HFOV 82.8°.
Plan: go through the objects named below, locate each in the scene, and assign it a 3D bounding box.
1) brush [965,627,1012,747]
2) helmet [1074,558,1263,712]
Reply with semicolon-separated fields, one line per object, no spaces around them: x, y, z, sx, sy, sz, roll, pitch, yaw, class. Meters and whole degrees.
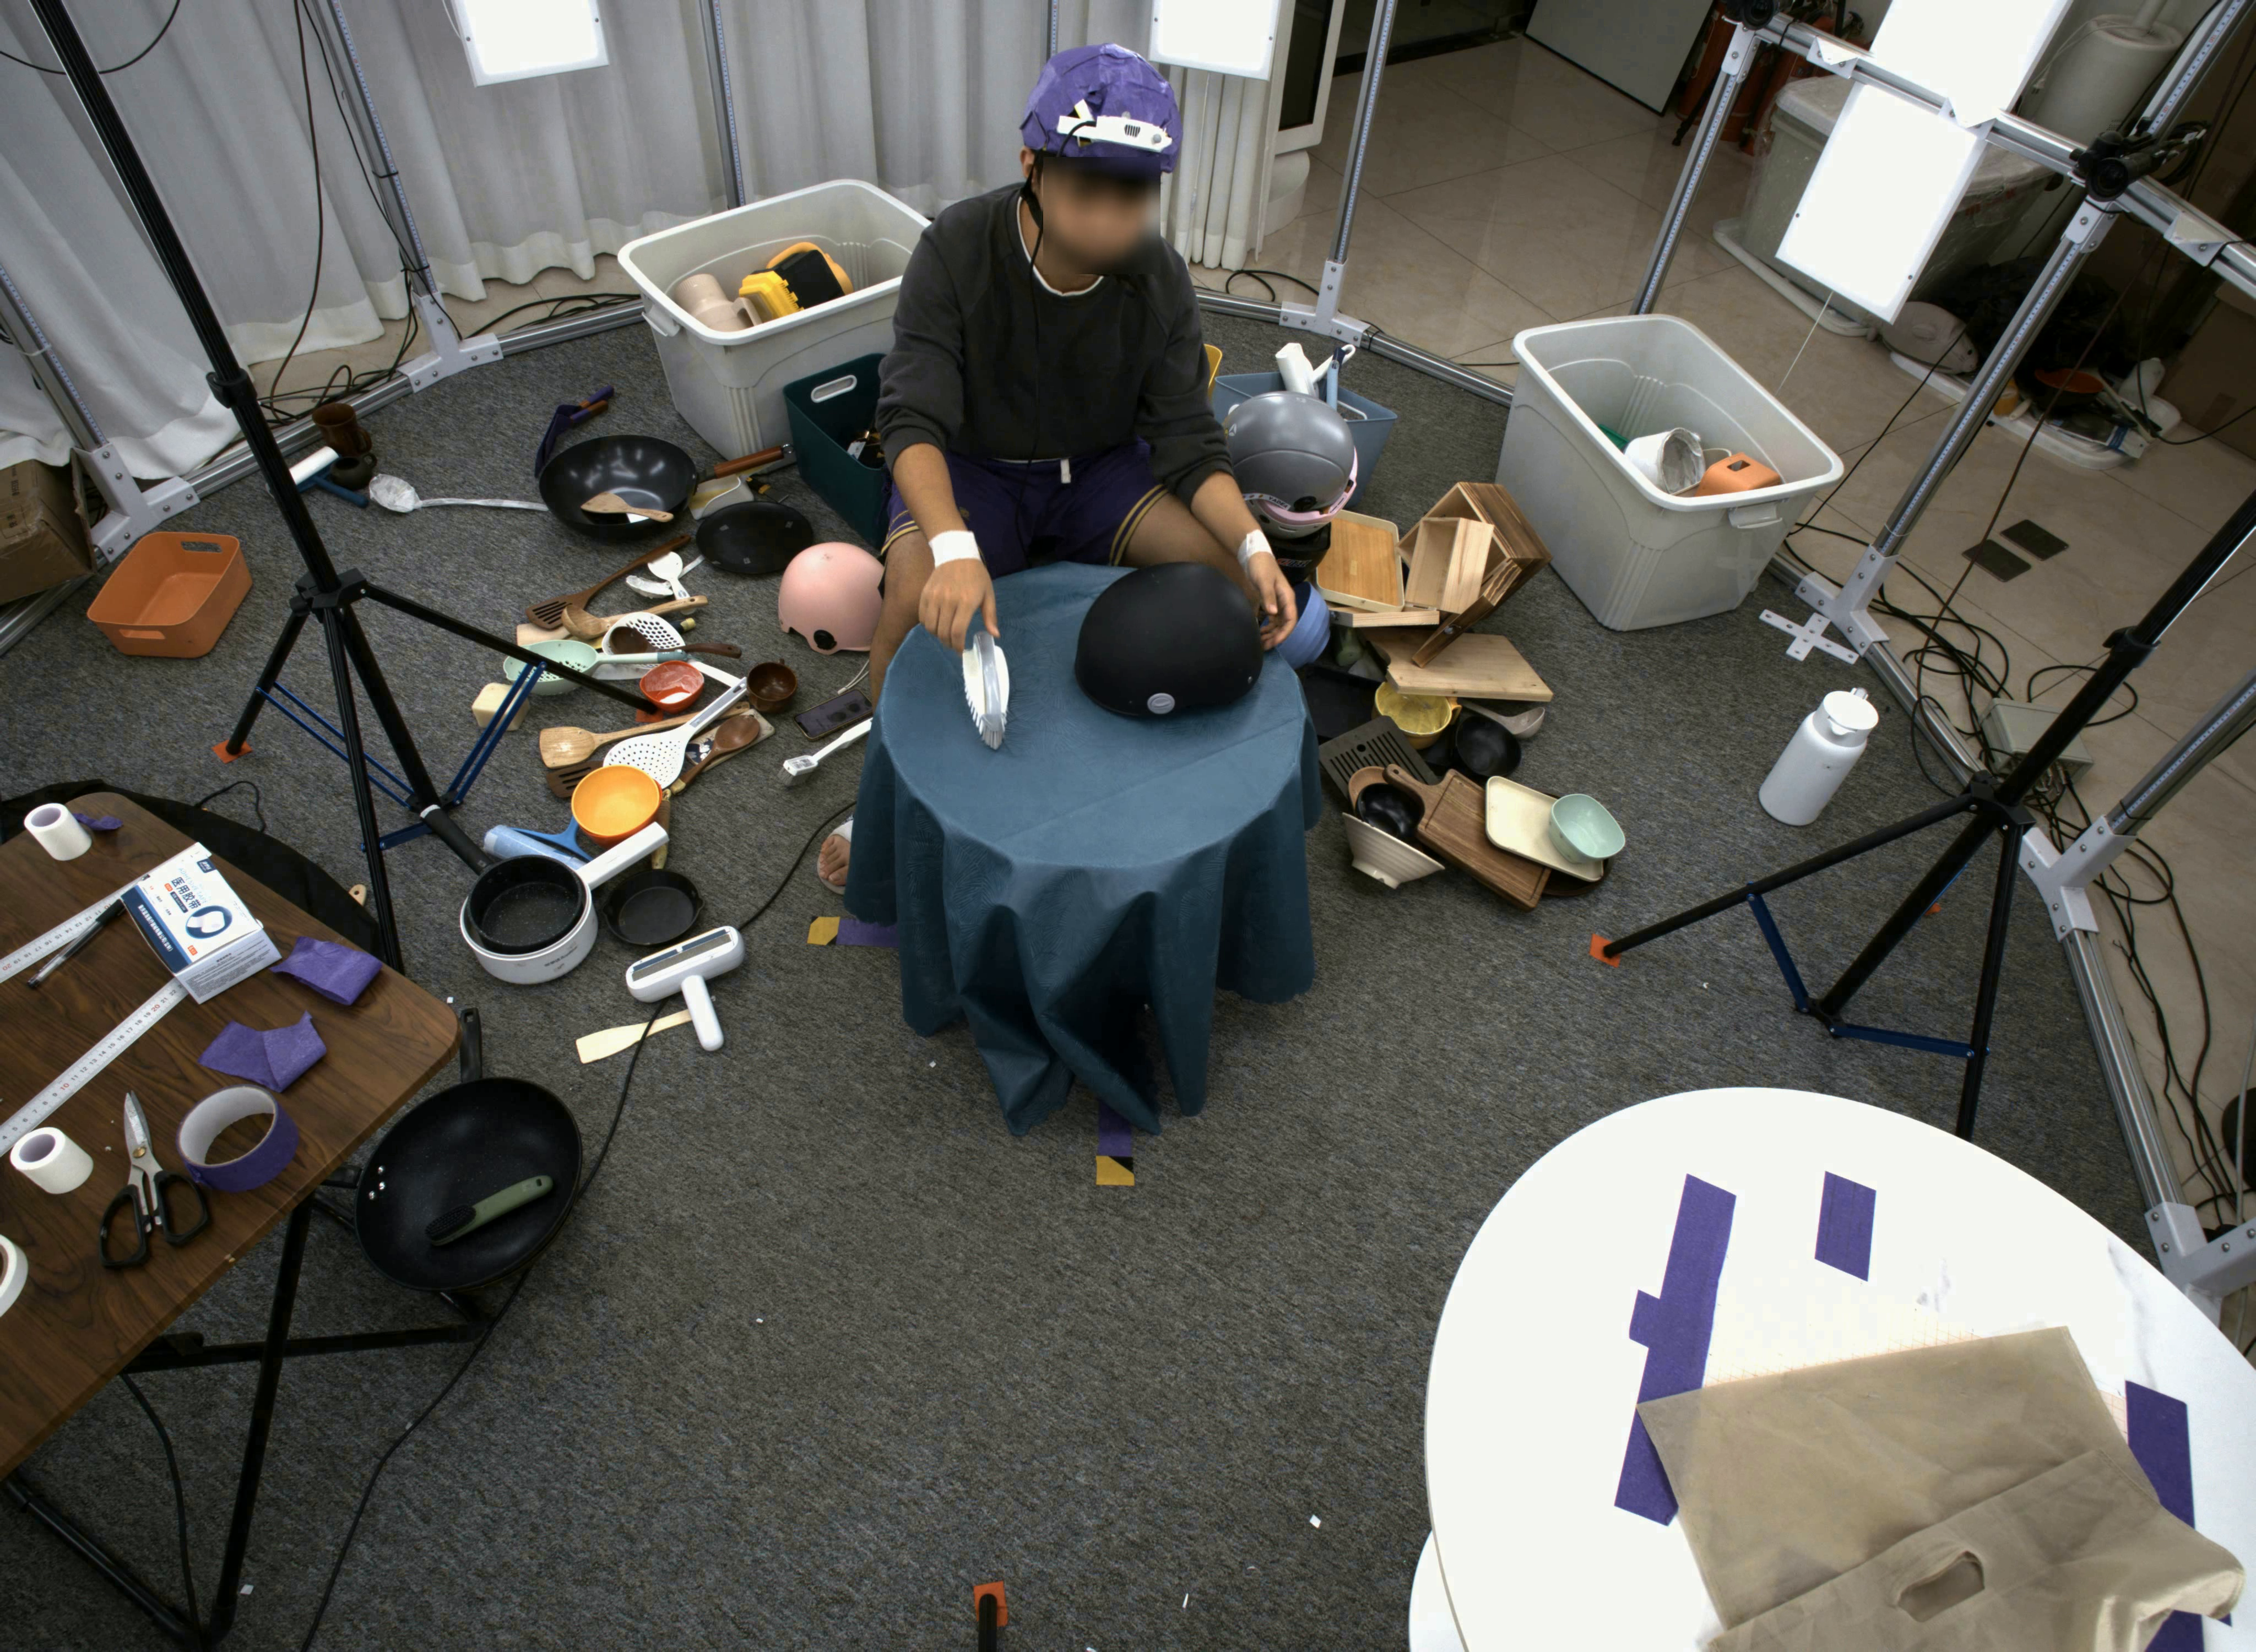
-0.189;-0.200;1.767;0.061;0.092;0.180;-7;52;-7;brush
0.059;-0.283;1.814;0.273;0.163;0.236;-8;50;-8;helmet
